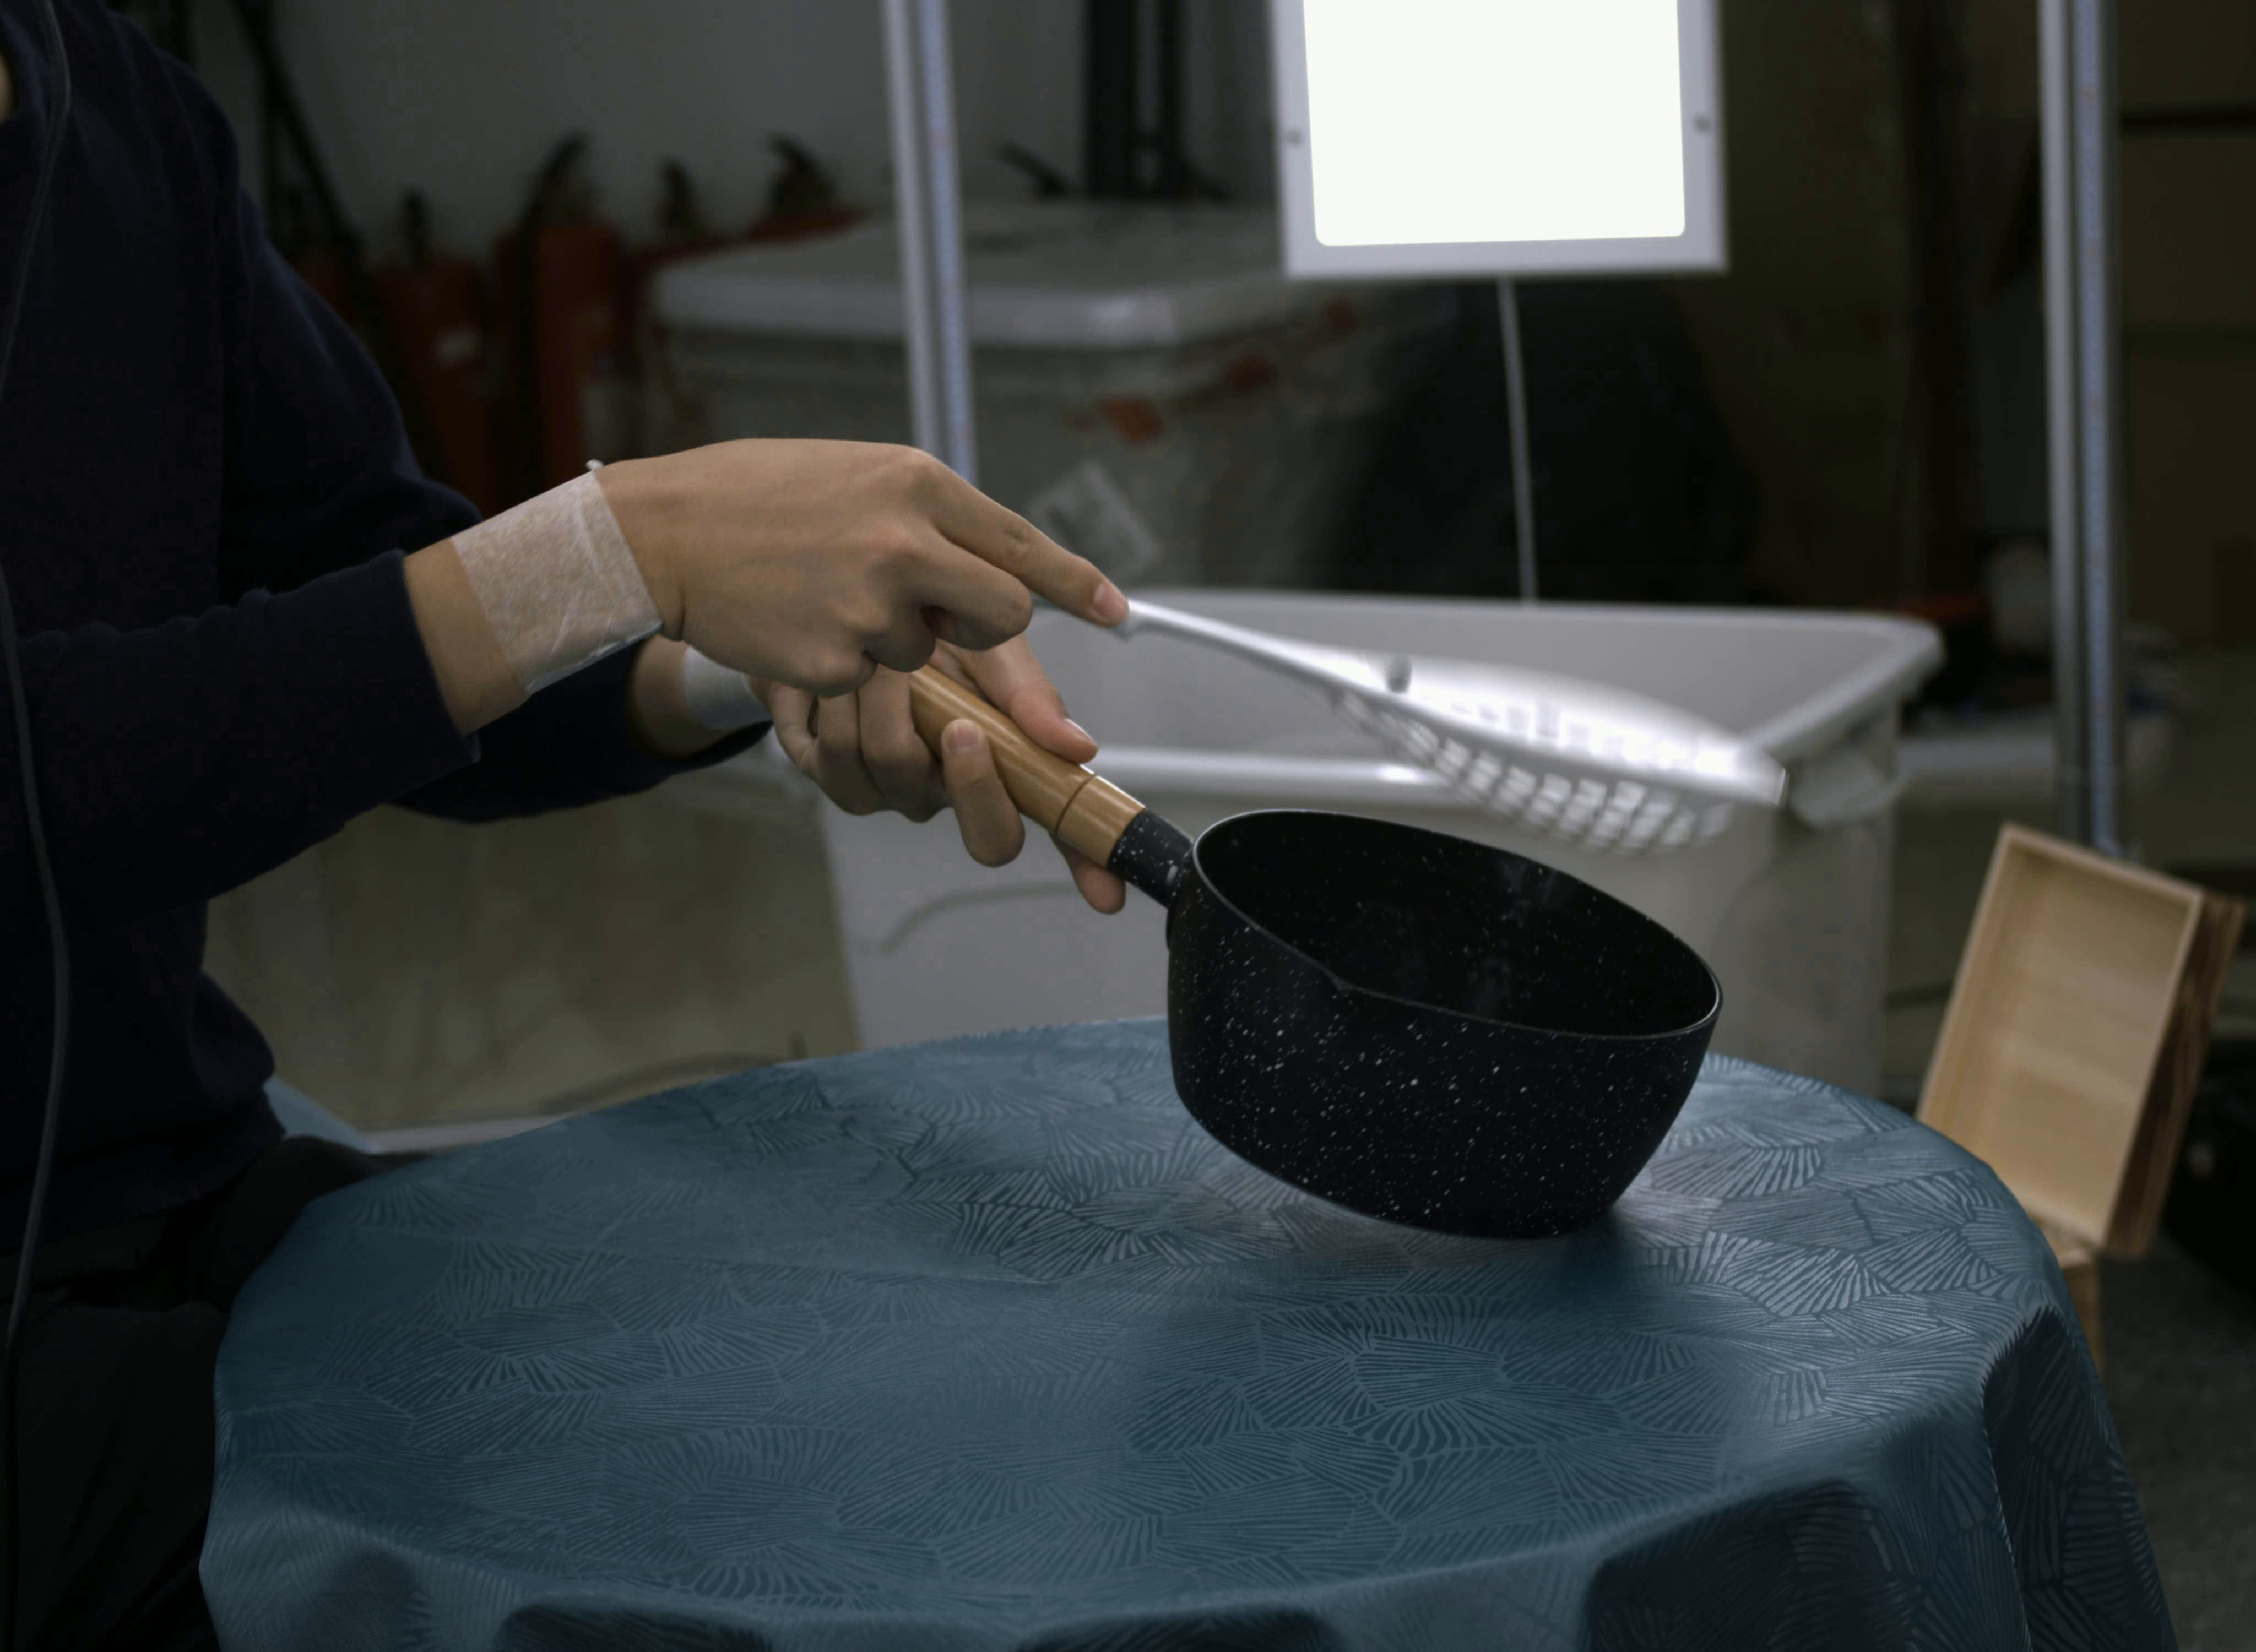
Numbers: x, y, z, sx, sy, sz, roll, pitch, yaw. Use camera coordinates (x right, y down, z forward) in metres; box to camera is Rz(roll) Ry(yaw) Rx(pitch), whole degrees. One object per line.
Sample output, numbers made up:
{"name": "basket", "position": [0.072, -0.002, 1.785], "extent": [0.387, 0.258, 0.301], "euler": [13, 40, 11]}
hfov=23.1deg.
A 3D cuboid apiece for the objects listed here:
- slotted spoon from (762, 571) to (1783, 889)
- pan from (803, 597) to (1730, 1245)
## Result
{"name": "slotted spoon", "position": [0.048, -0.041, 1.798], "extent": [0.344, 0.050, 0.137], "euler": [21, 4, -11]}
{"name": "pan", "position": [0.031, 0.031, 1.852], "extent": [0.346, 0.109, 0.204], "euler": [21, 19, 16]}
